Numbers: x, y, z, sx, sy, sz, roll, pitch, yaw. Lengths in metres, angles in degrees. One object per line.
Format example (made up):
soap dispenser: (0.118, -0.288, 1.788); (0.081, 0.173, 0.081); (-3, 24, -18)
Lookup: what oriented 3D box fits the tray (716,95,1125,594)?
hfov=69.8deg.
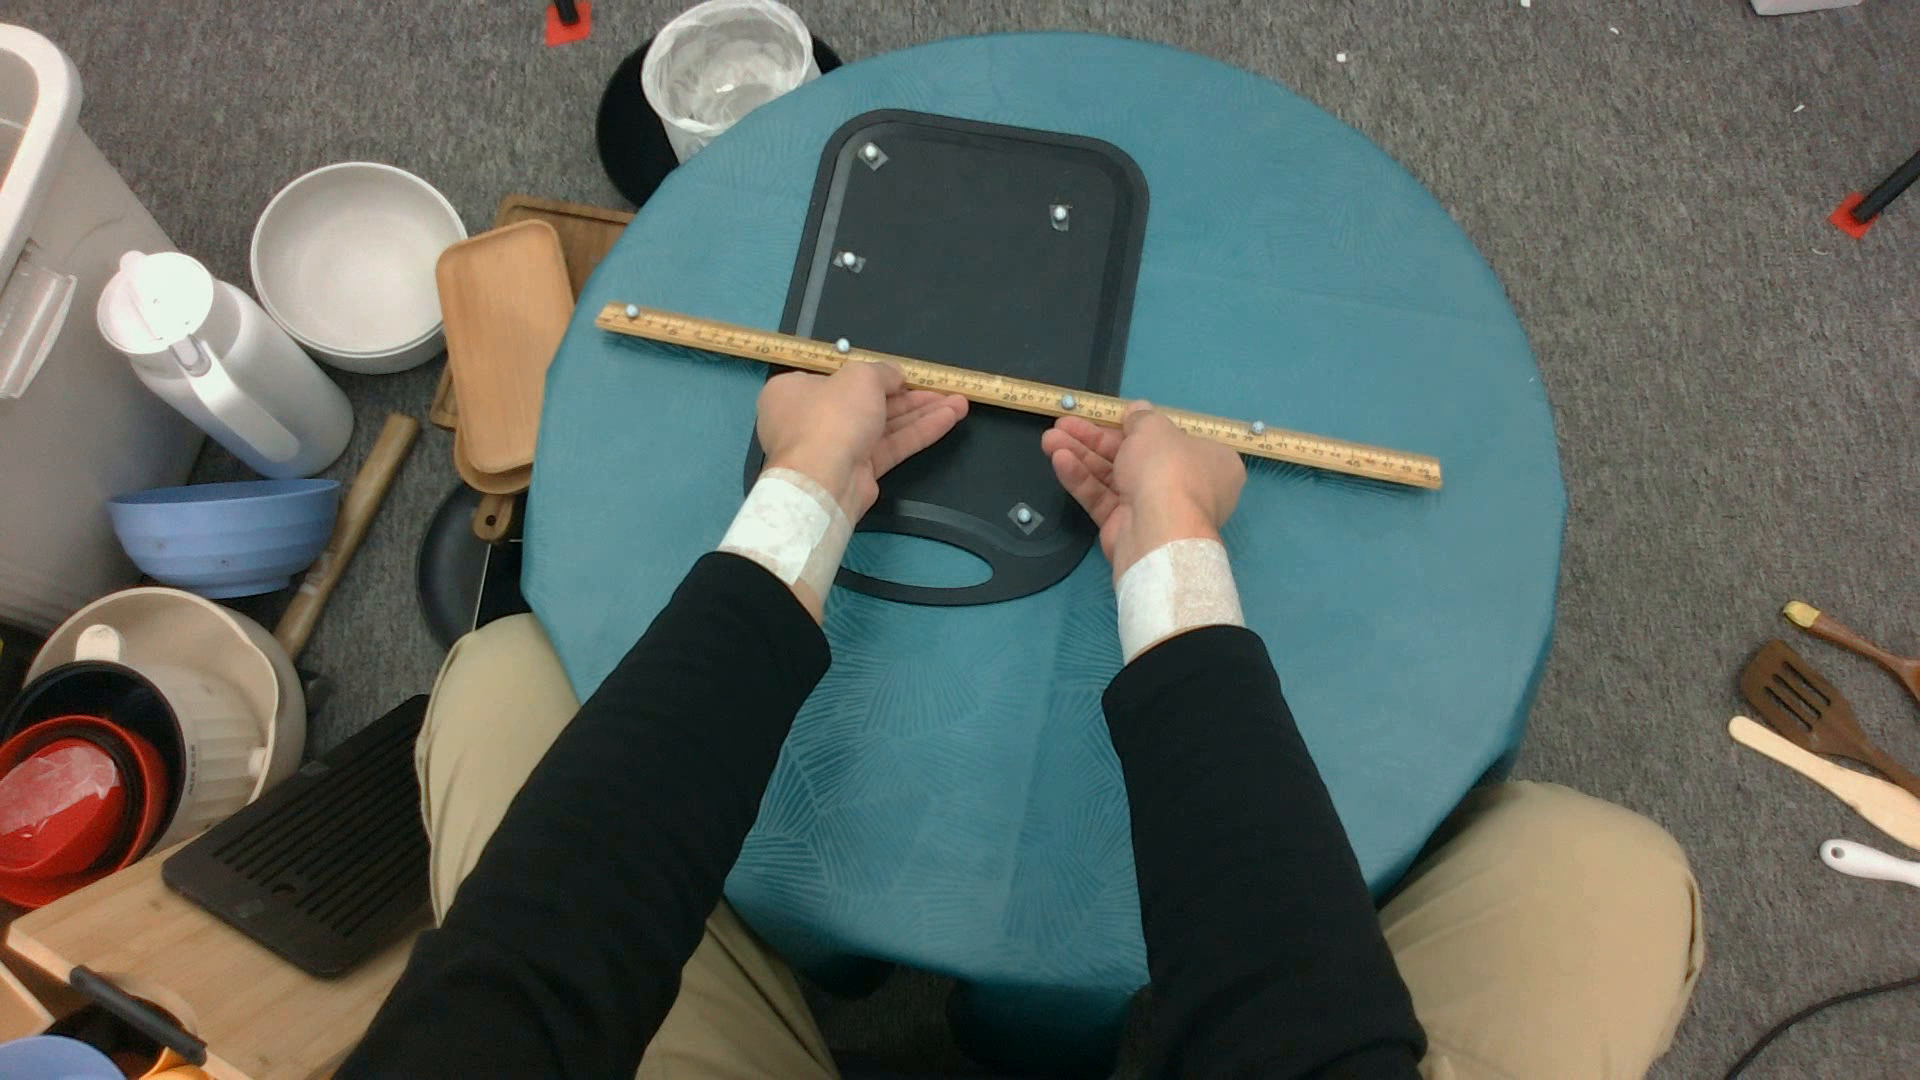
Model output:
tray: (-0.020, -0.124, 0.825); (0.211, 0.010, 0.326); (10, 70, 3)

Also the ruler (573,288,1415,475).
ruler: (0.017, -0.094, 0.806); (0.500, 0.006, 0.027); (11, 40, 3)
